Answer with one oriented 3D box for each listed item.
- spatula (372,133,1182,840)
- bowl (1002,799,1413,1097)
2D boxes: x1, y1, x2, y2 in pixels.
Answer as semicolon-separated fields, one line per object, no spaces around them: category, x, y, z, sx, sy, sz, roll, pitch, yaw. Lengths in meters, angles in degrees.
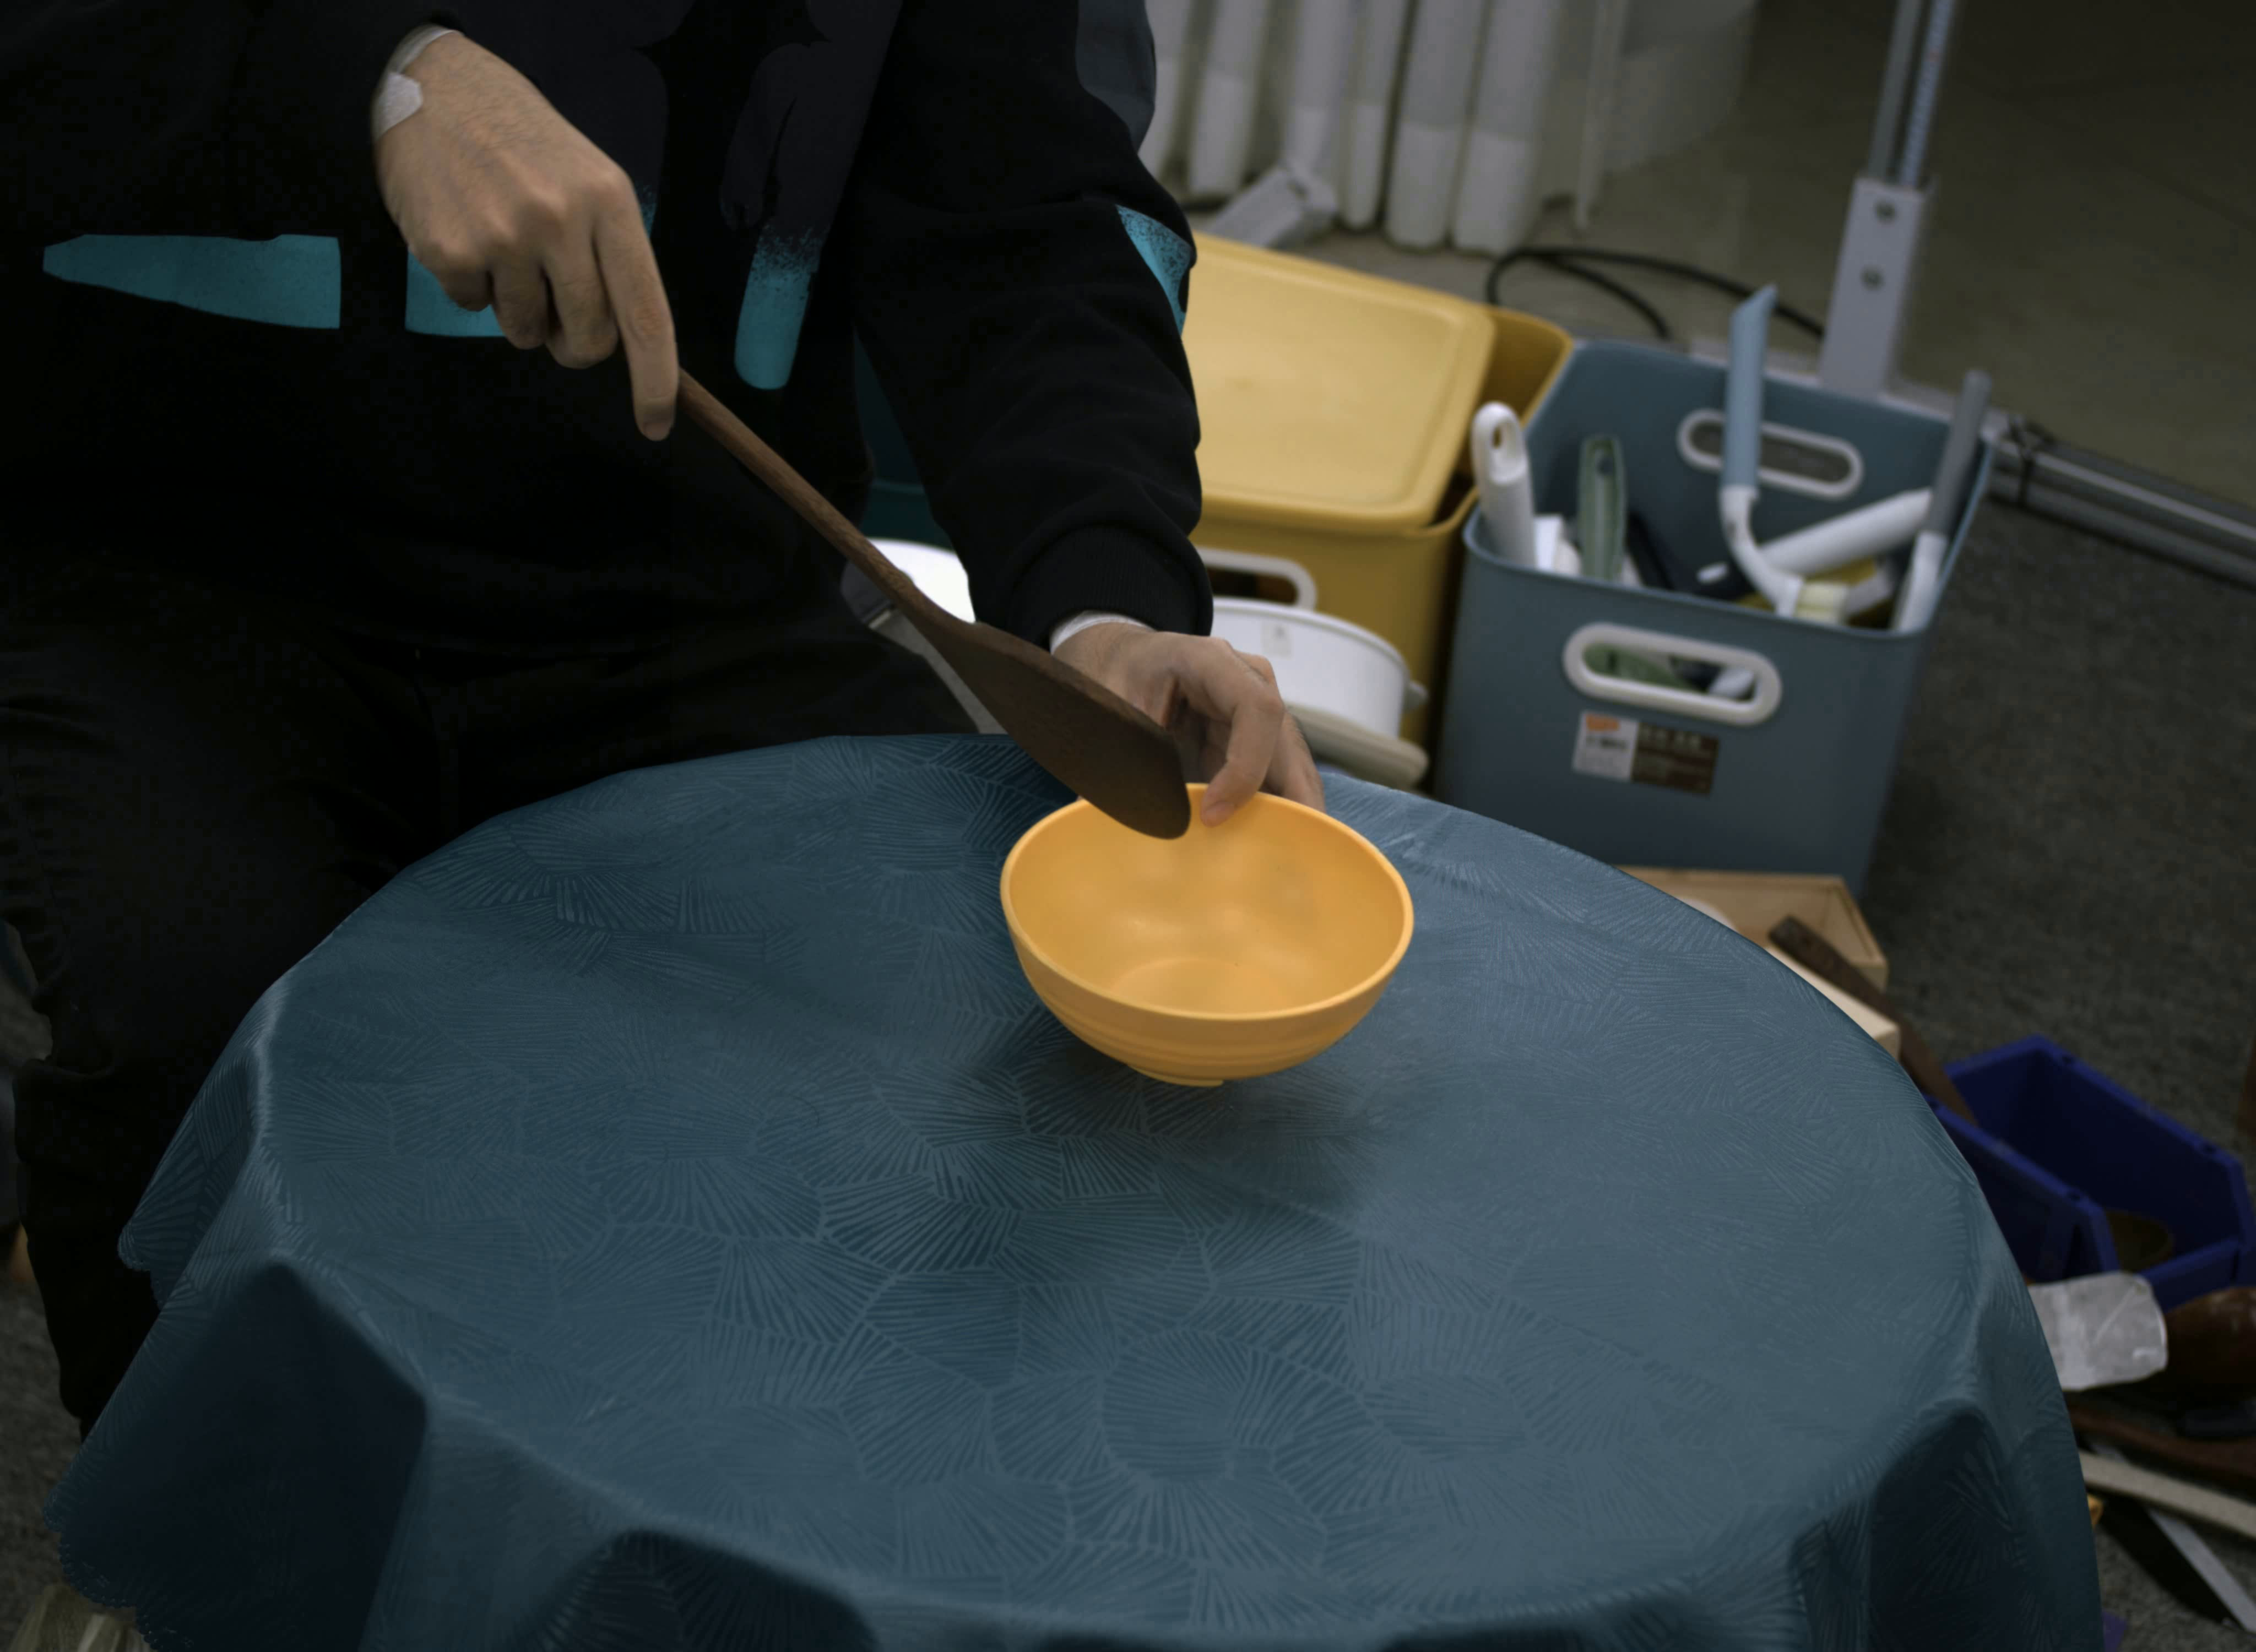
spatula;-0.124;-0.124;1.831;0.388;0.095;0.016;41;74;17
bowl;0.025;0.052;1.864;0.145;0.060;0.146;5;31;-3
